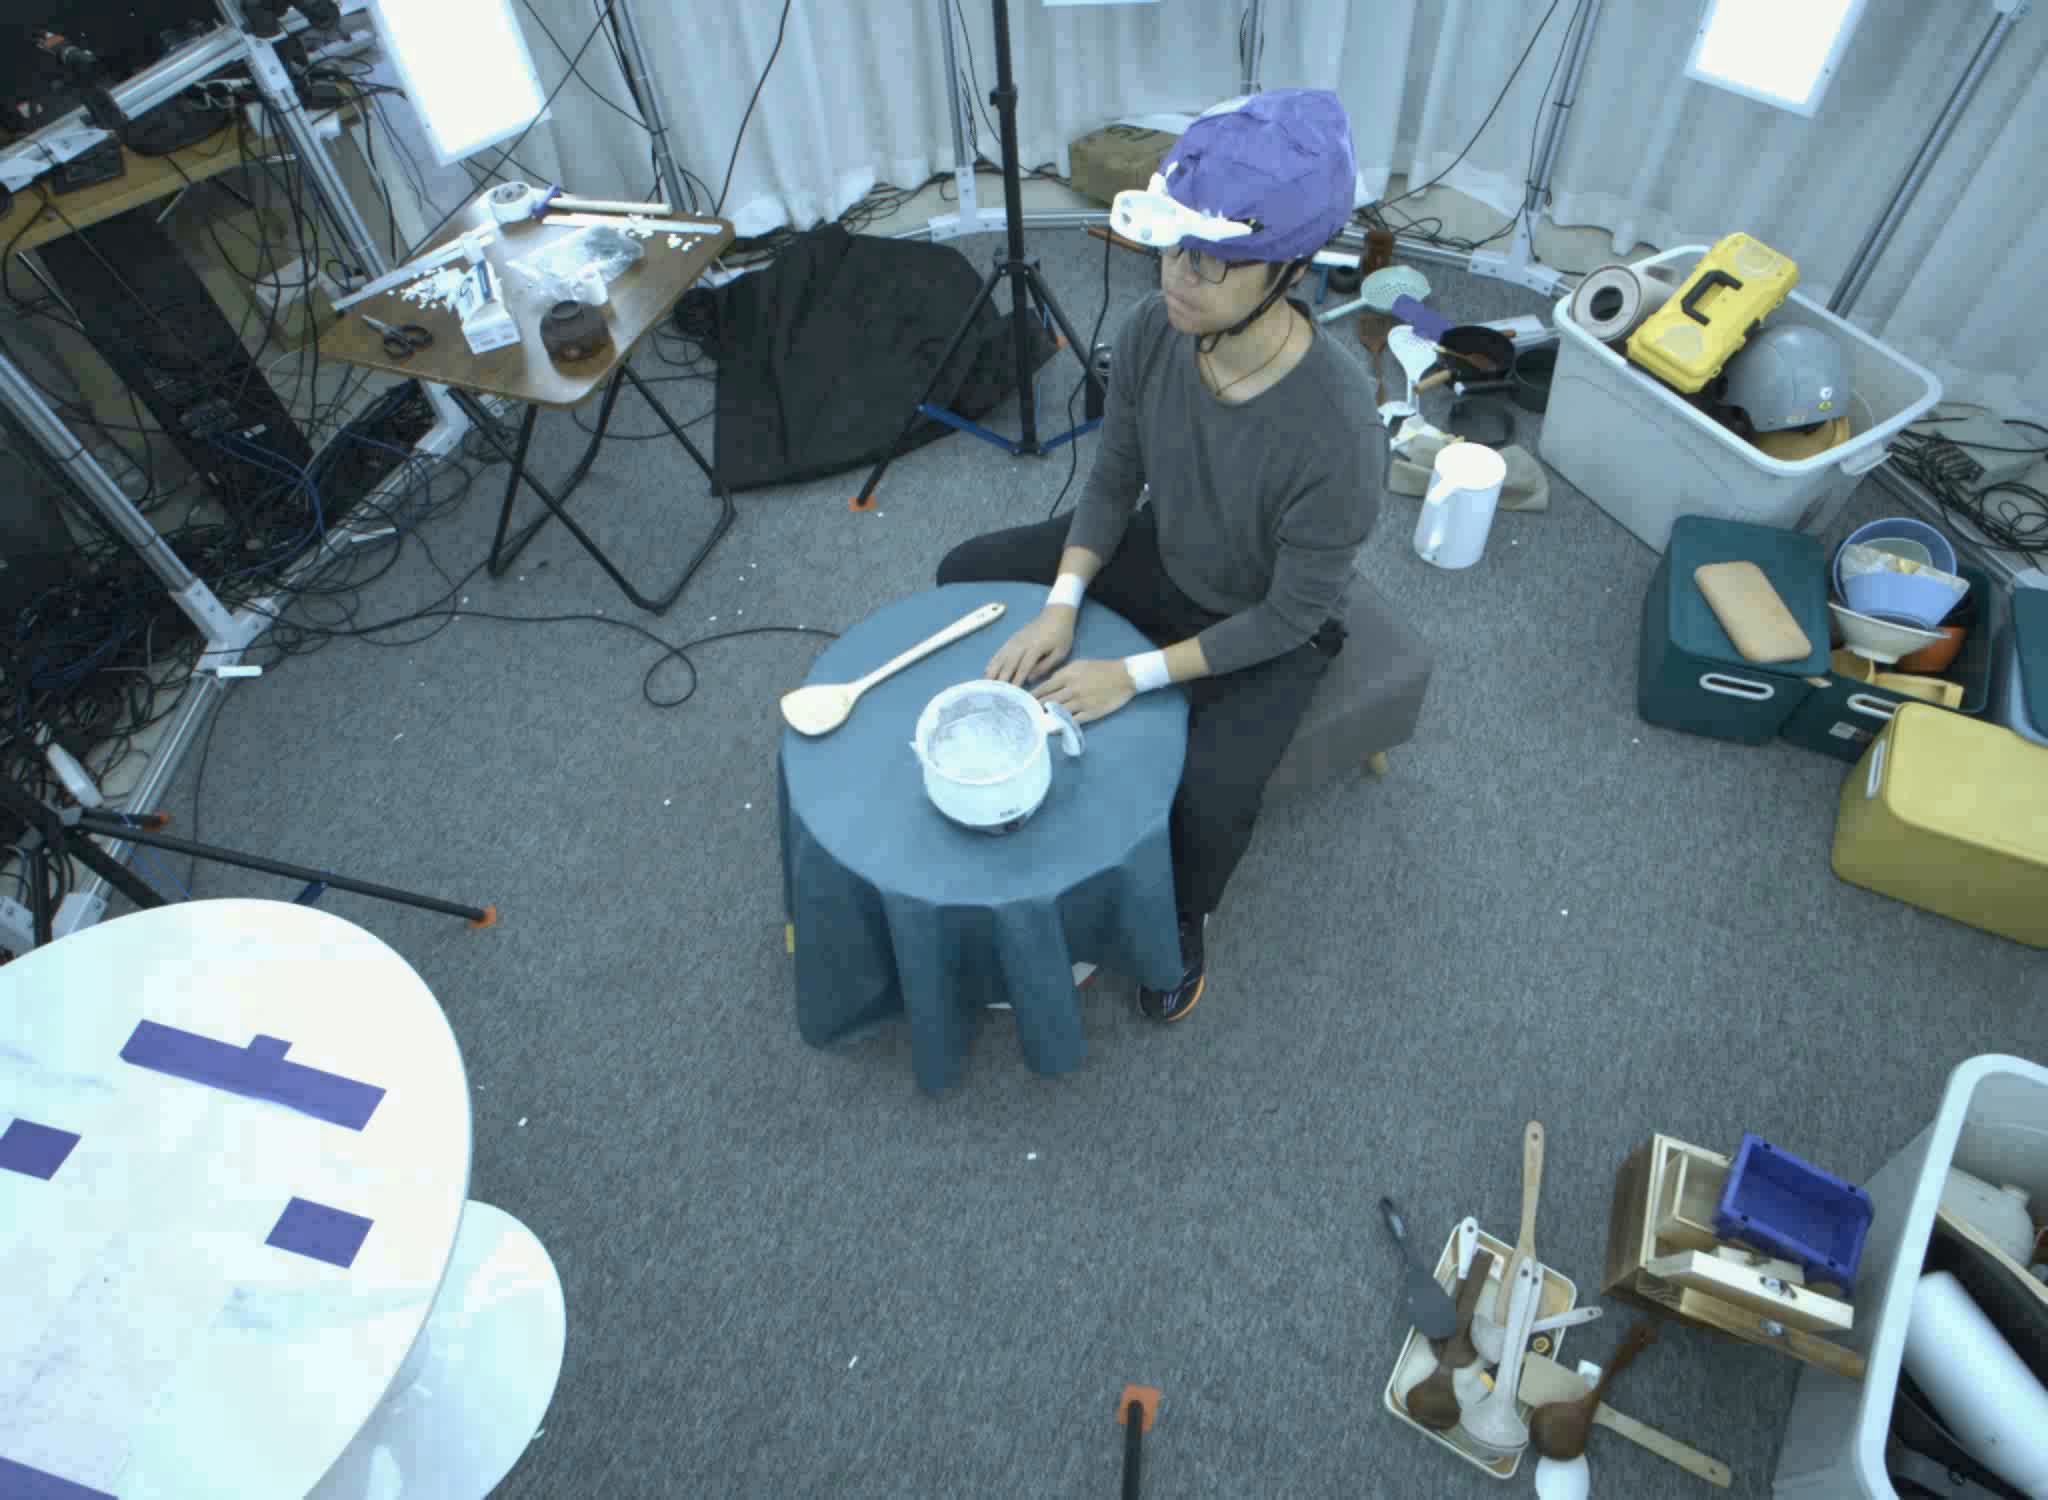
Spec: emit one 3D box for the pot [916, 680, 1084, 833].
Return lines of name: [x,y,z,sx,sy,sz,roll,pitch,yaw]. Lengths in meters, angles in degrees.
pot: [-0.028,0.001,1.710,0.235,0.138,0.175,-21,56,-13]

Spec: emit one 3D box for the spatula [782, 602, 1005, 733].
spatula: [-0.194,-0.140,1.889,0.394,0.018,0.094,-32,61,-19]
